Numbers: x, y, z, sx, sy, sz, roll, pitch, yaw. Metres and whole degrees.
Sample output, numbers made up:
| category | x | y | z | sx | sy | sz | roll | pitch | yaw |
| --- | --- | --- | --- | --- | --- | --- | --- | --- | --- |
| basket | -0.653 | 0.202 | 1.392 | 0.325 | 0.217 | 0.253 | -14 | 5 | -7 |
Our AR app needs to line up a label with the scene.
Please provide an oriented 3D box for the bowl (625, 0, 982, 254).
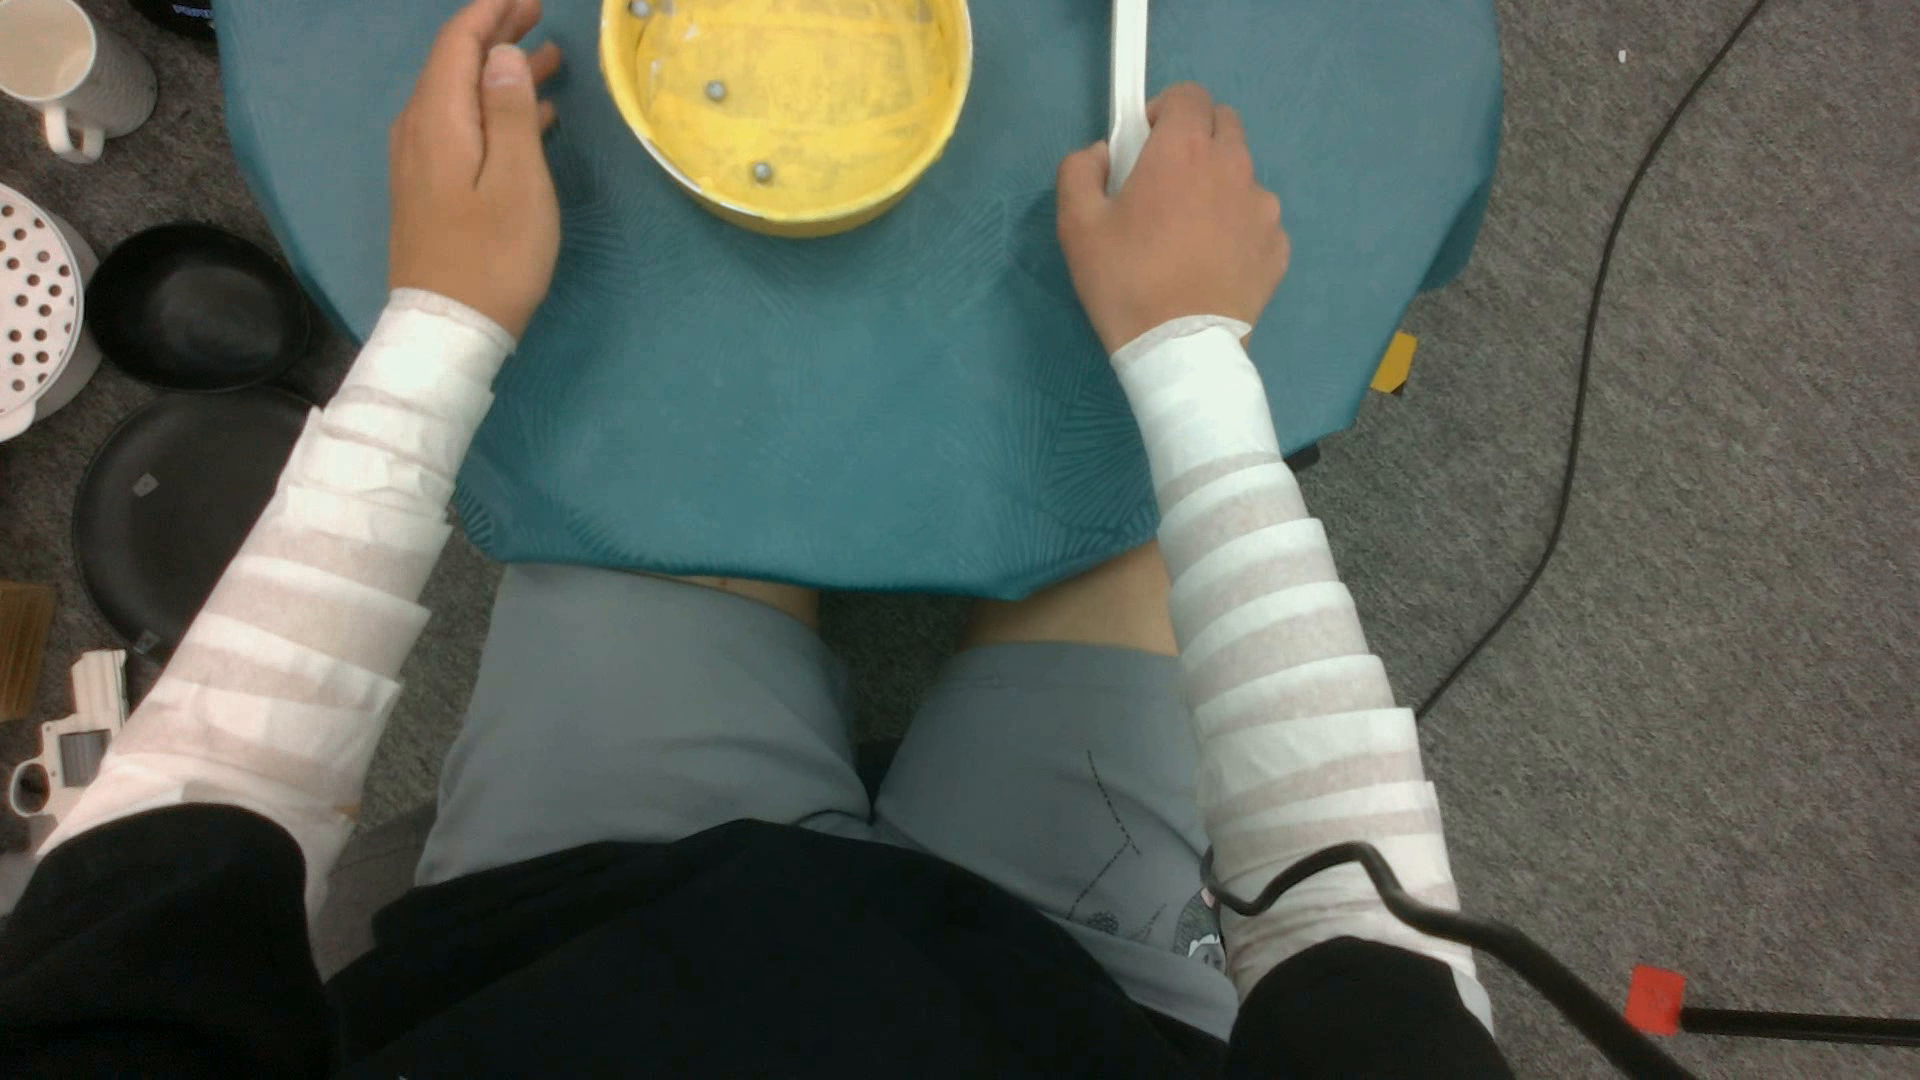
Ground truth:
| category | x | y | z | sx | sy | sz | roll | pitch | yaw |
| --- | --- | --- | --- | --- | --- | --- | --- | --- | --- |
| bowl | -0.075 | -0.216 | 0.621 | 0.153 | 0.074 | 0.179 | -35 | 93 | -4 |

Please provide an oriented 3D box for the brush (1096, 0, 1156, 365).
| category | x | y | z | sx | sy | sz | roll | pitch | yaw |
| --- | --- | --- | --- | --- | --- | --- | --- | --- | --- |
| brush | 0.079 | -0.204 | 0.636 | 0.034 | 0.050 | 0.244 | 1 | 84 | -8 |
